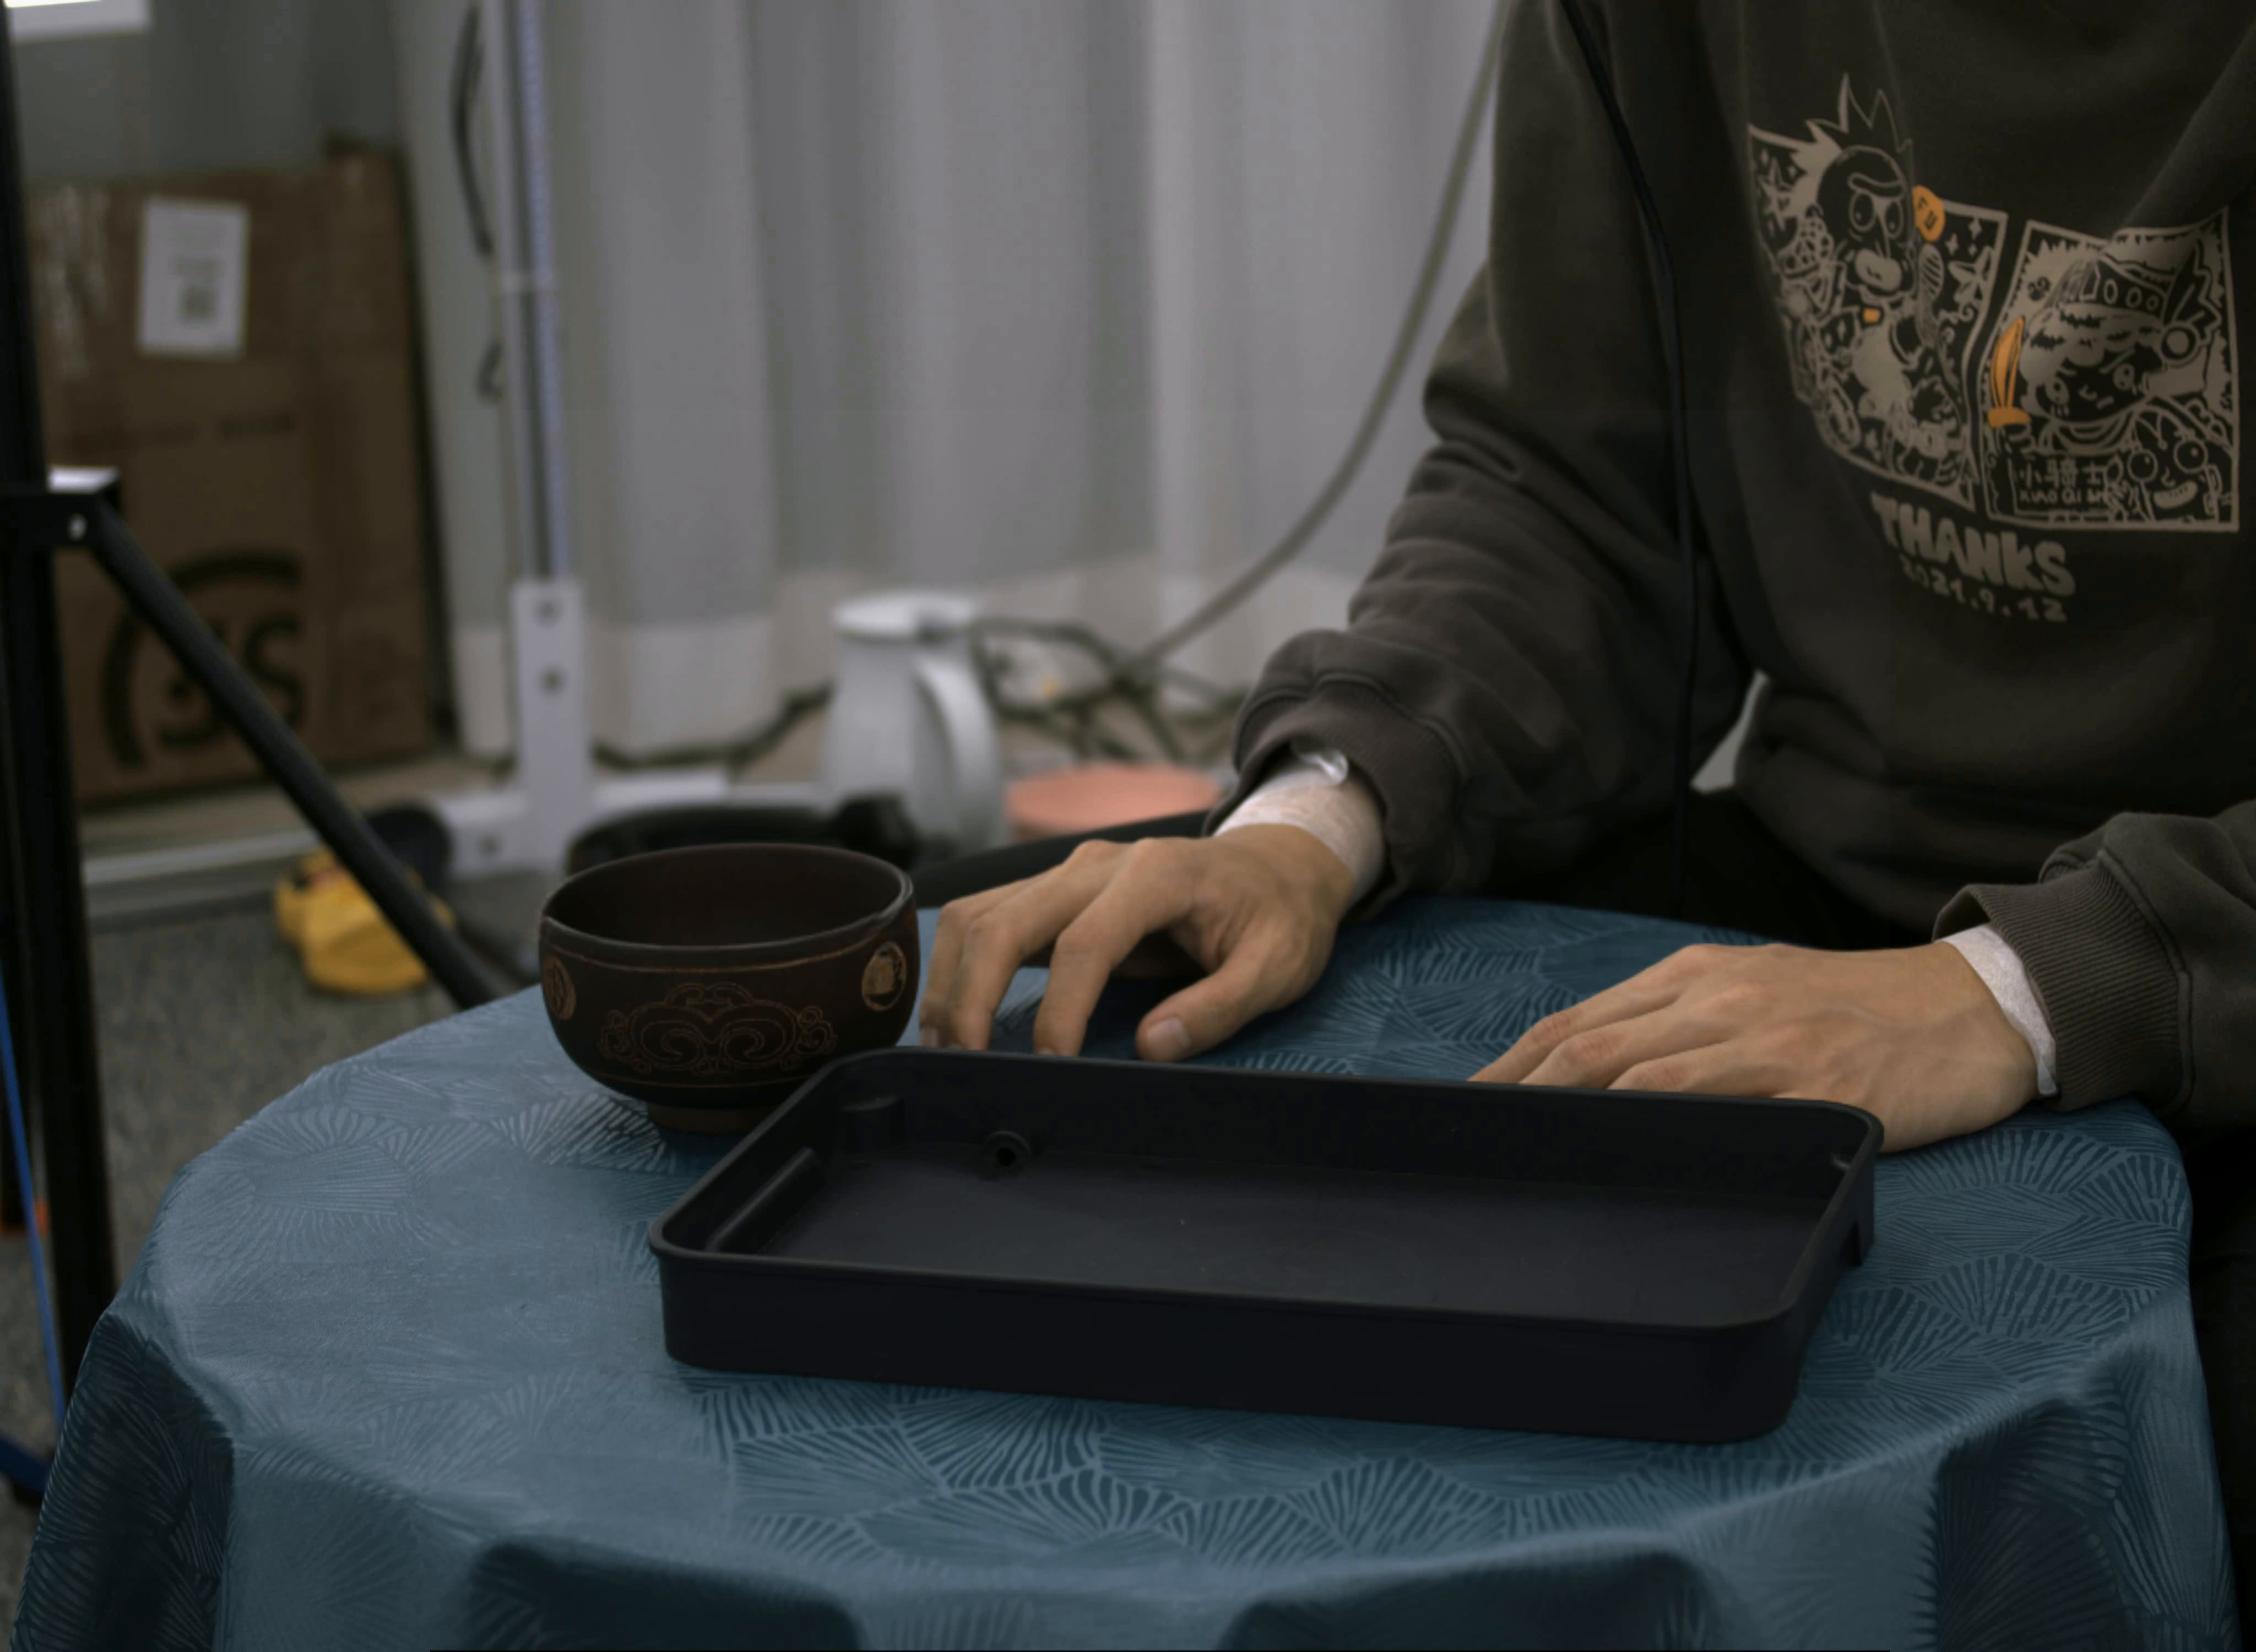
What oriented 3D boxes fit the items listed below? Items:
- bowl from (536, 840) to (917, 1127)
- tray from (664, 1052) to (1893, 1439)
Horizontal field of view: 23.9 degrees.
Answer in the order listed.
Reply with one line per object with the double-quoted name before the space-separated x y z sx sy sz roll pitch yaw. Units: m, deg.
"bowl" -0.123 0.052 1.650 0.117 0.070 0.118 -2 14 -1
"tray" 0.045 0.113 1.471 0.321 0.037 0.182 2 16 17
